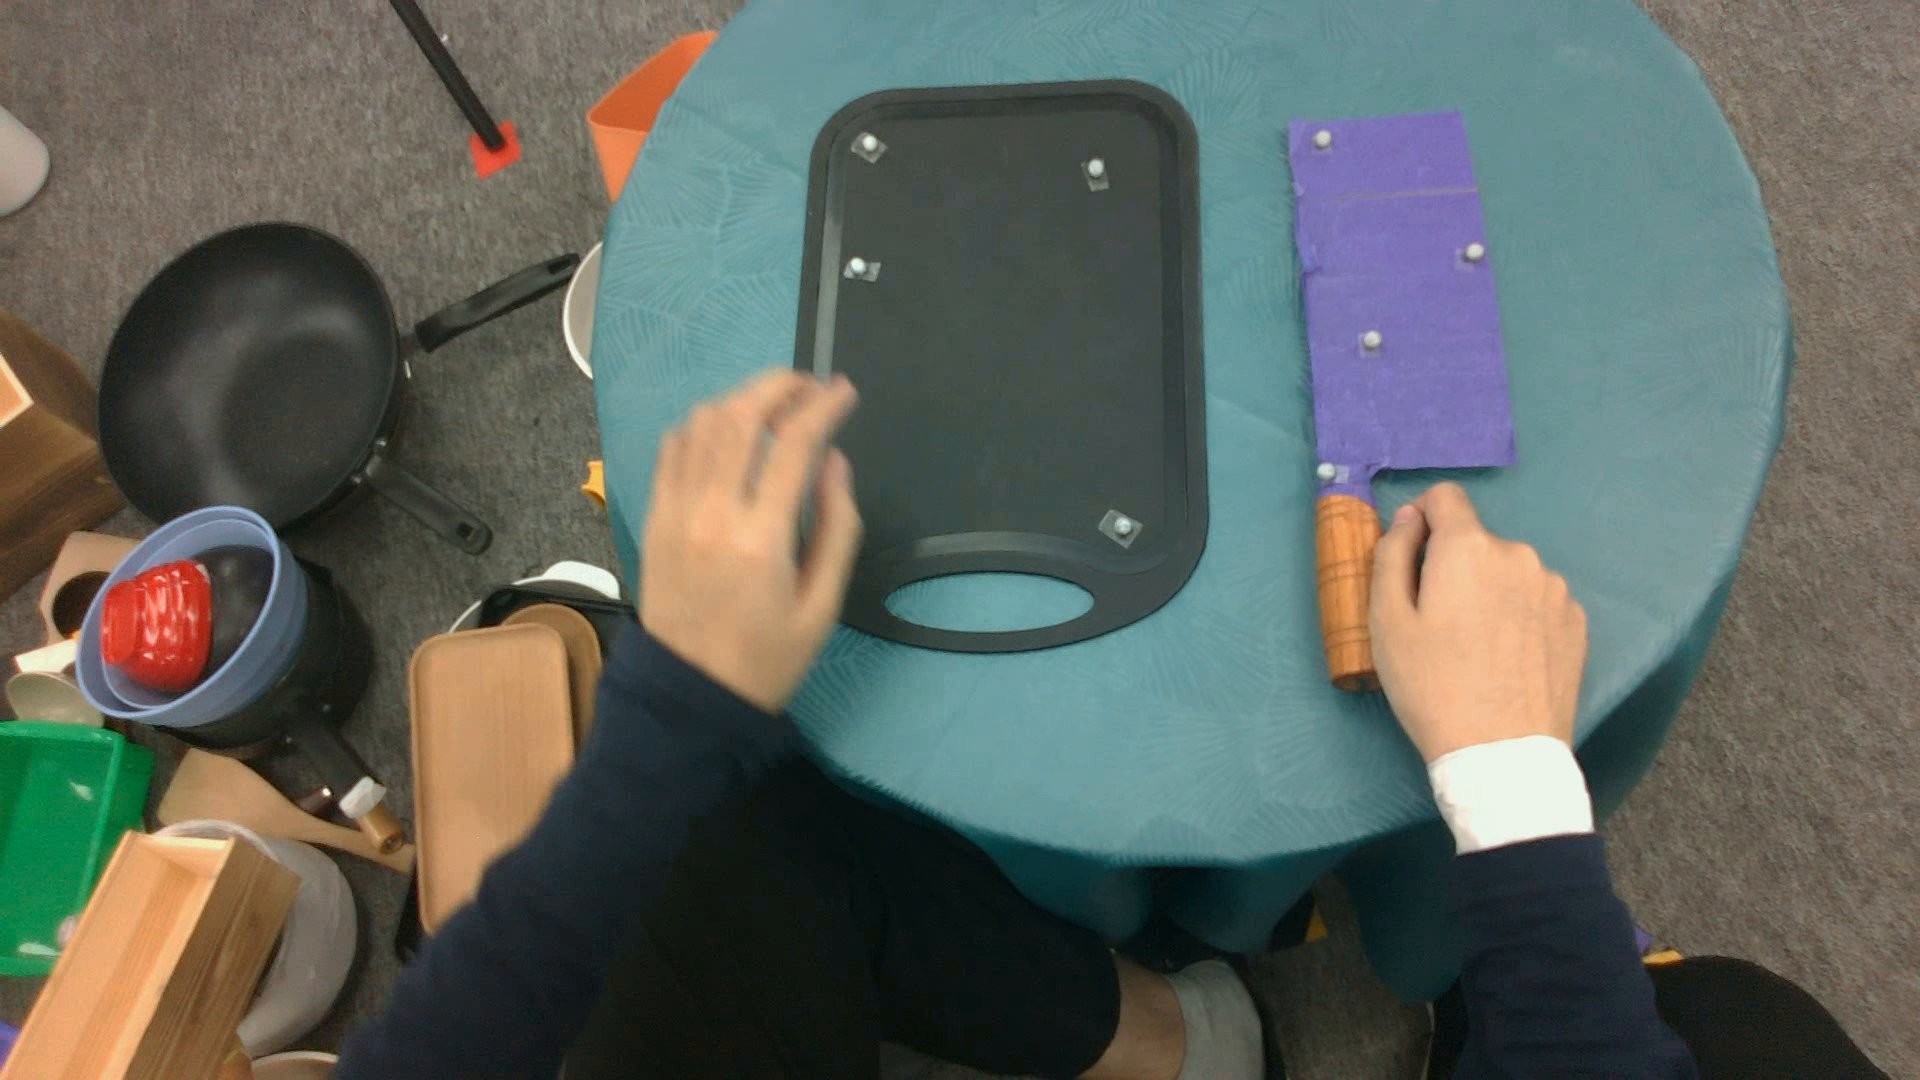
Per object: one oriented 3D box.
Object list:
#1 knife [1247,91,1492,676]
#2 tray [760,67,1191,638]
[{"bbox_3d":[0.203,-0.091,0.662,0.104,0.032,0.316,-2,68,5],"label":"knife"},{"bbox_3d":[0.010,-0.107,0.699,0.211,0.010,0.326,0,69,6],"label":"tray"}]
